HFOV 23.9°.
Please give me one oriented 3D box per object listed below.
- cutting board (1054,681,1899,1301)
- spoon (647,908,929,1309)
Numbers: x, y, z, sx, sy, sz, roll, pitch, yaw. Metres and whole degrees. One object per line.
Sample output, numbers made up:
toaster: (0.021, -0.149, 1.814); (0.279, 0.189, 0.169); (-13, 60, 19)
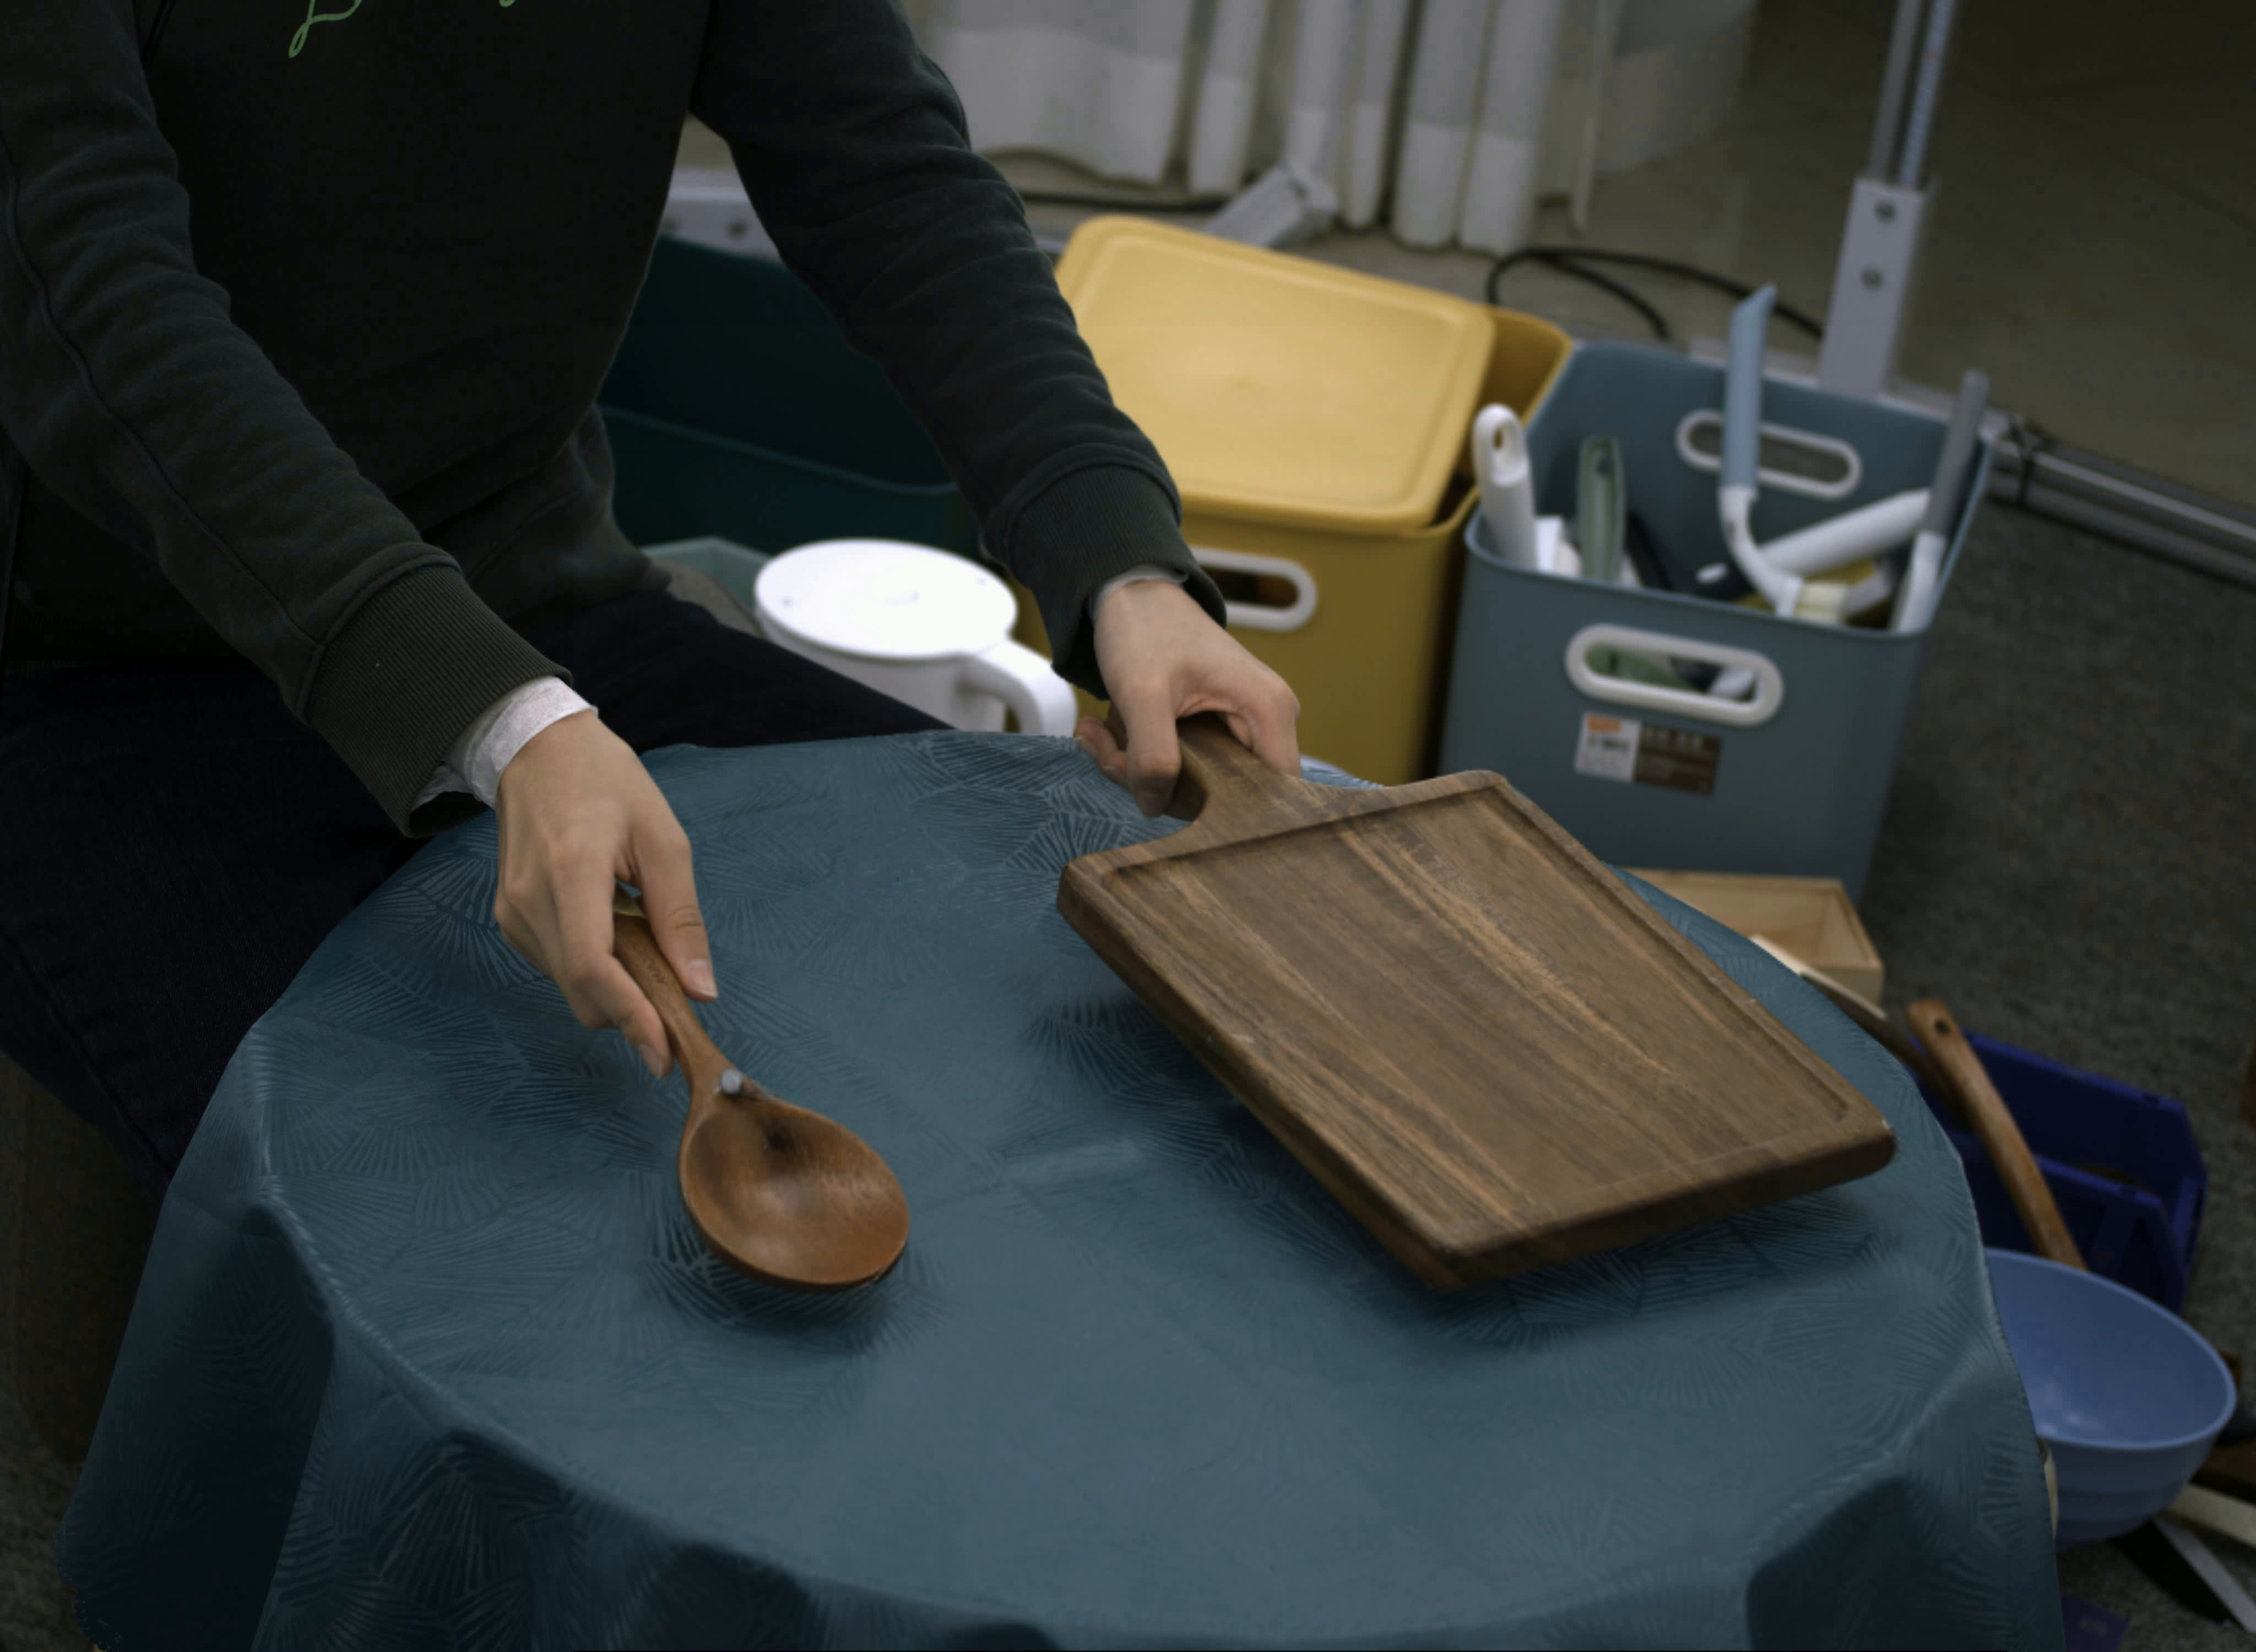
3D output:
cutting board: (0.094, 0.042, 1.898); (0.200, 0.023, 0.355); (-13, 37, -30)
spoon: (-0.123, 0.094, 1.770); (0.075, 0.017, 0.218); (-1, 35, -22)
